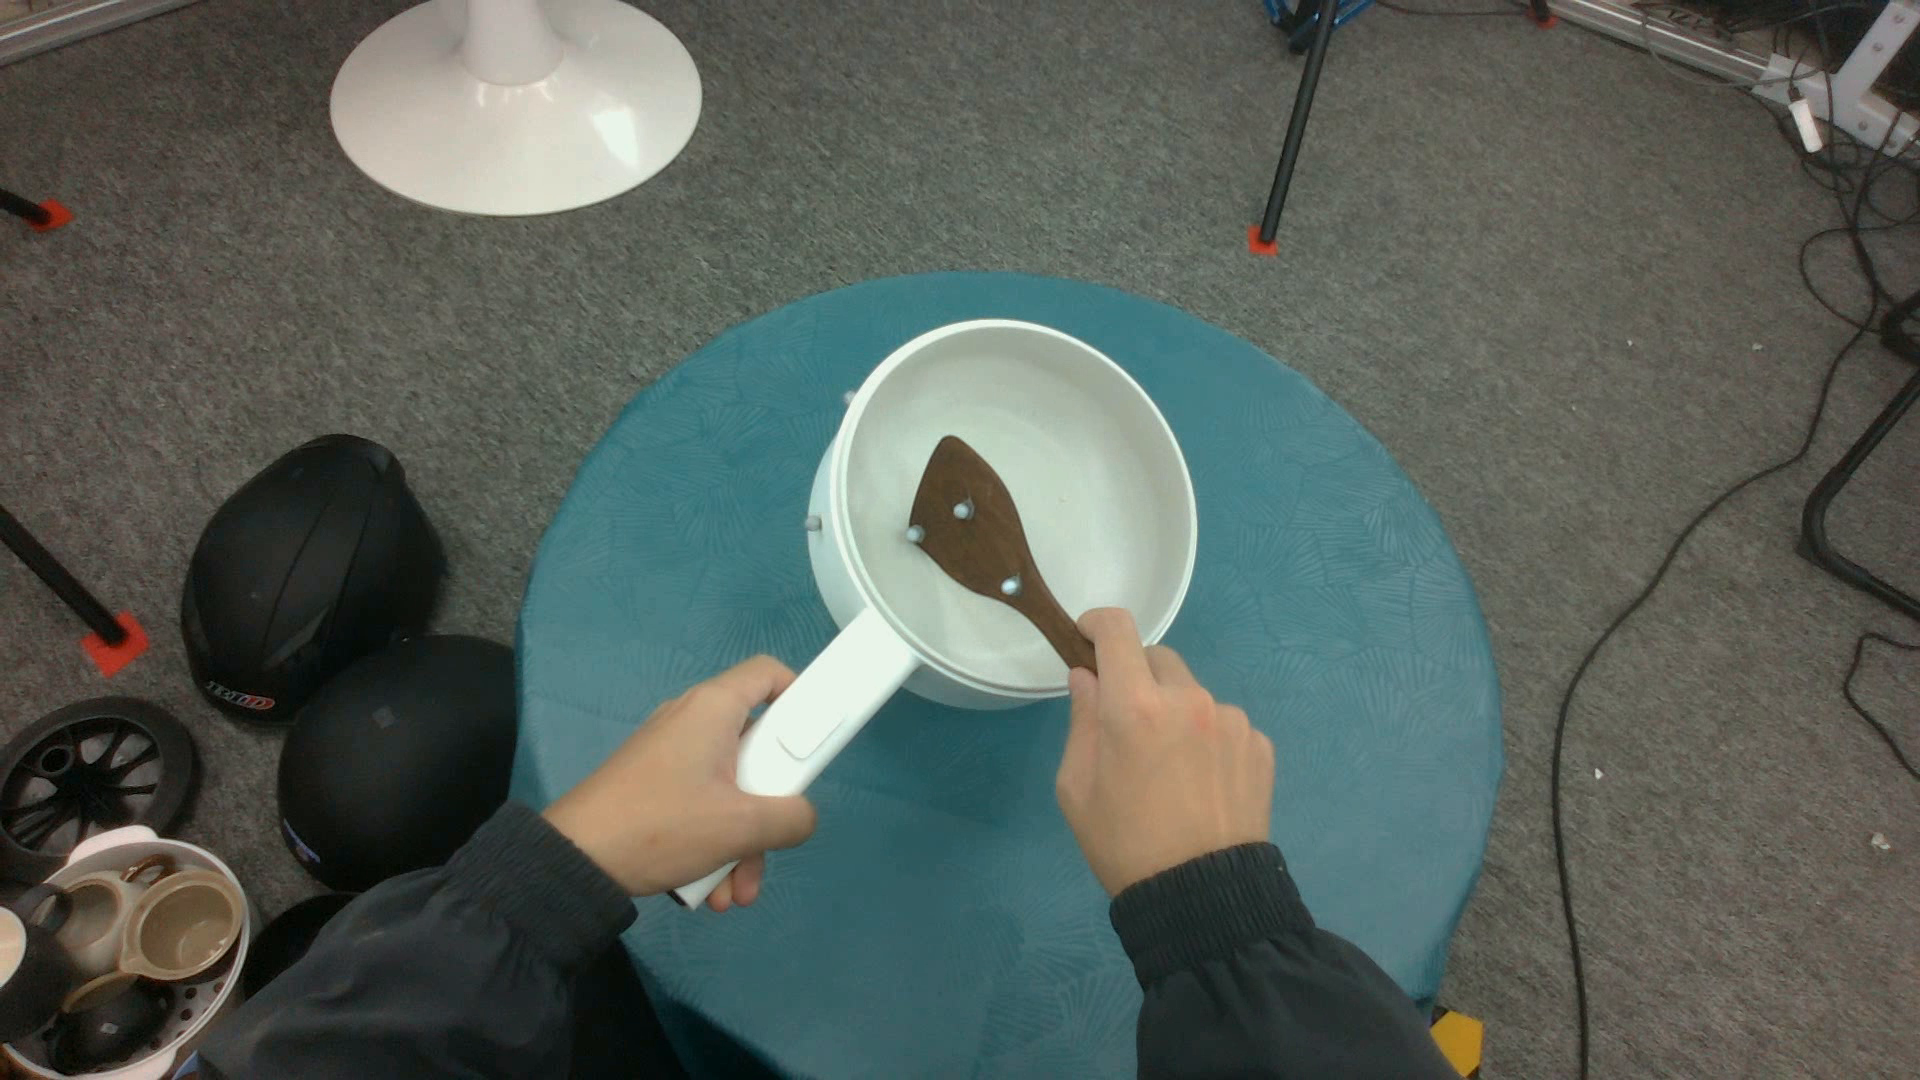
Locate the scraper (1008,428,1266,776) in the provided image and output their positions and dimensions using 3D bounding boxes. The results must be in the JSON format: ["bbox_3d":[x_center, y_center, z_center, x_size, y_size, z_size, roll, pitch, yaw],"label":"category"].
[{"bbox_3d":[0.087,0.032,0.694,0.011,0.075,0.212,-6,45,-34],"label":"scraper"}]

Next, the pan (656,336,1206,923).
[{"bbox_3d":[-0.023,0.051,0.727,0.201,0.101,0.356,43,67,-2],"label":"pan"}]
